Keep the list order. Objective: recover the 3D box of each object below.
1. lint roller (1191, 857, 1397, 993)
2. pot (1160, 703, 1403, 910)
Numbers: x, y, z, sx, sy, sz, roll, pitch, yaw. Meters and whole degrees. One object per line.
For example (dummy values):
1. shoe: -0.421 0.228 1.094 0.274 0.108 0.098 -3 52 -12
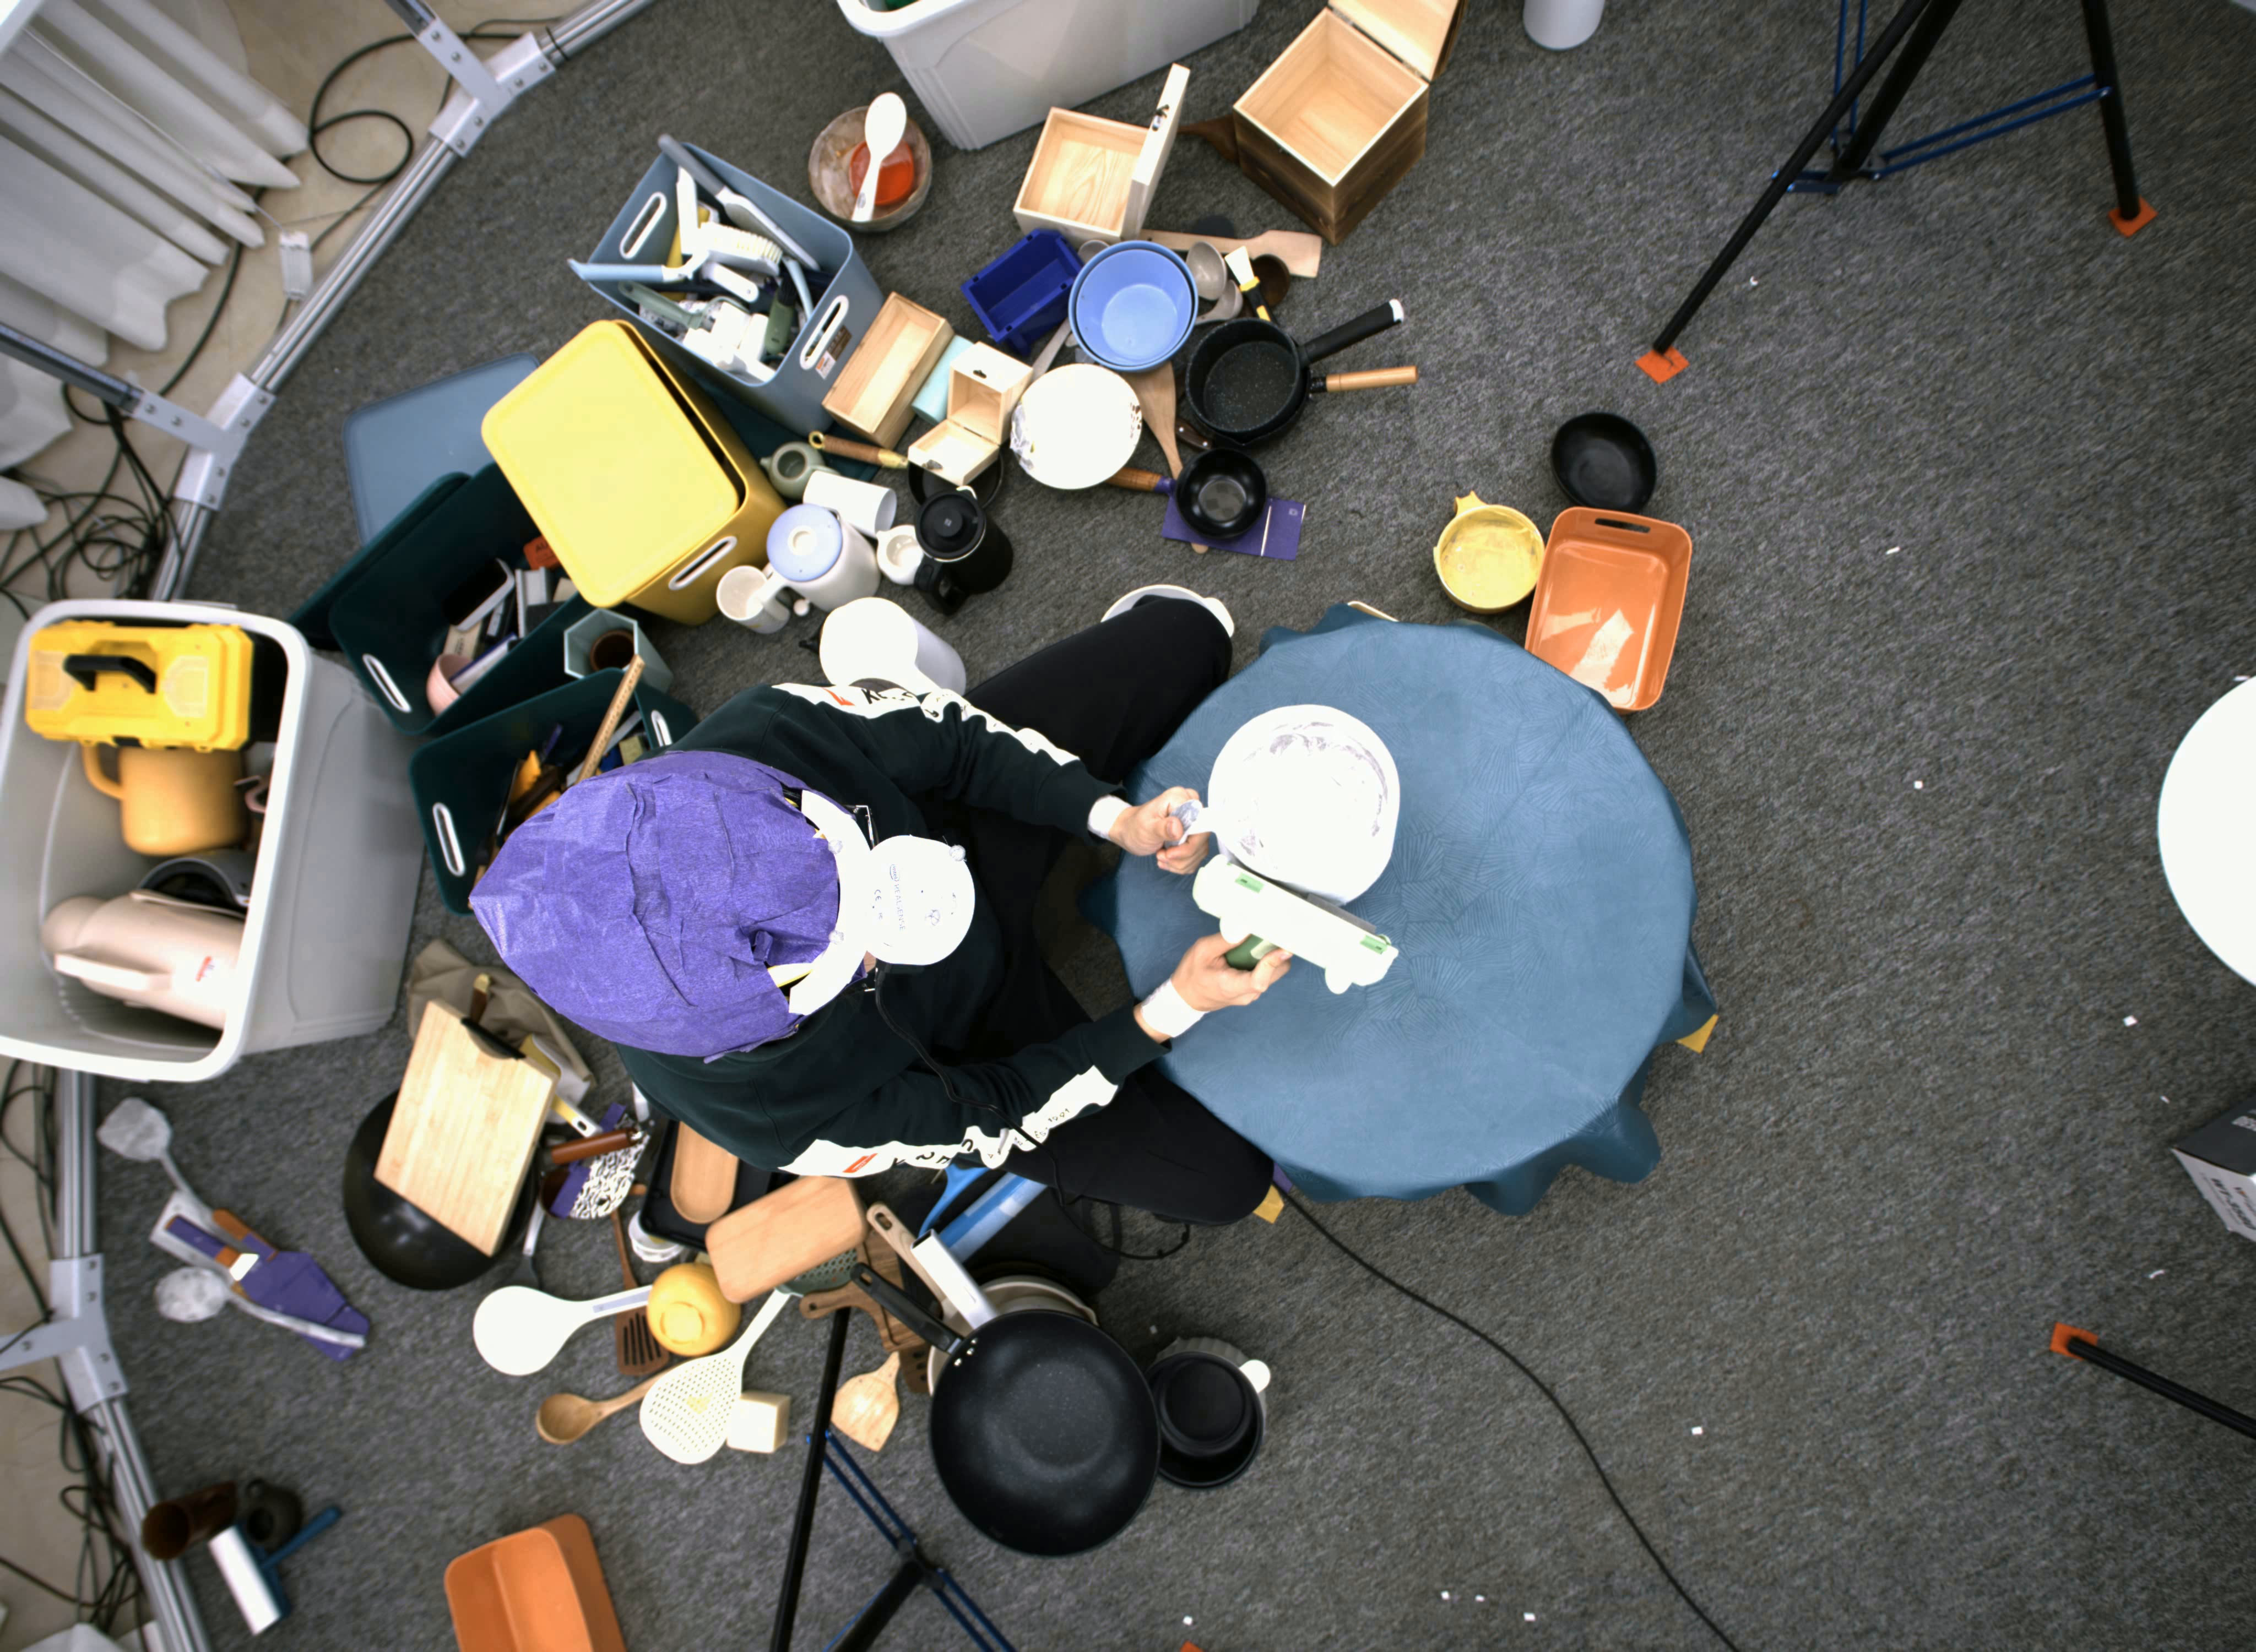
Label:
1. lint roller: 0.126 0.123 1.322 0.199 0.188 0.080 25 47 -16
2. pot: 0.145 -0.008 1.339 0.234 0.138 0.176 -9 71 5
